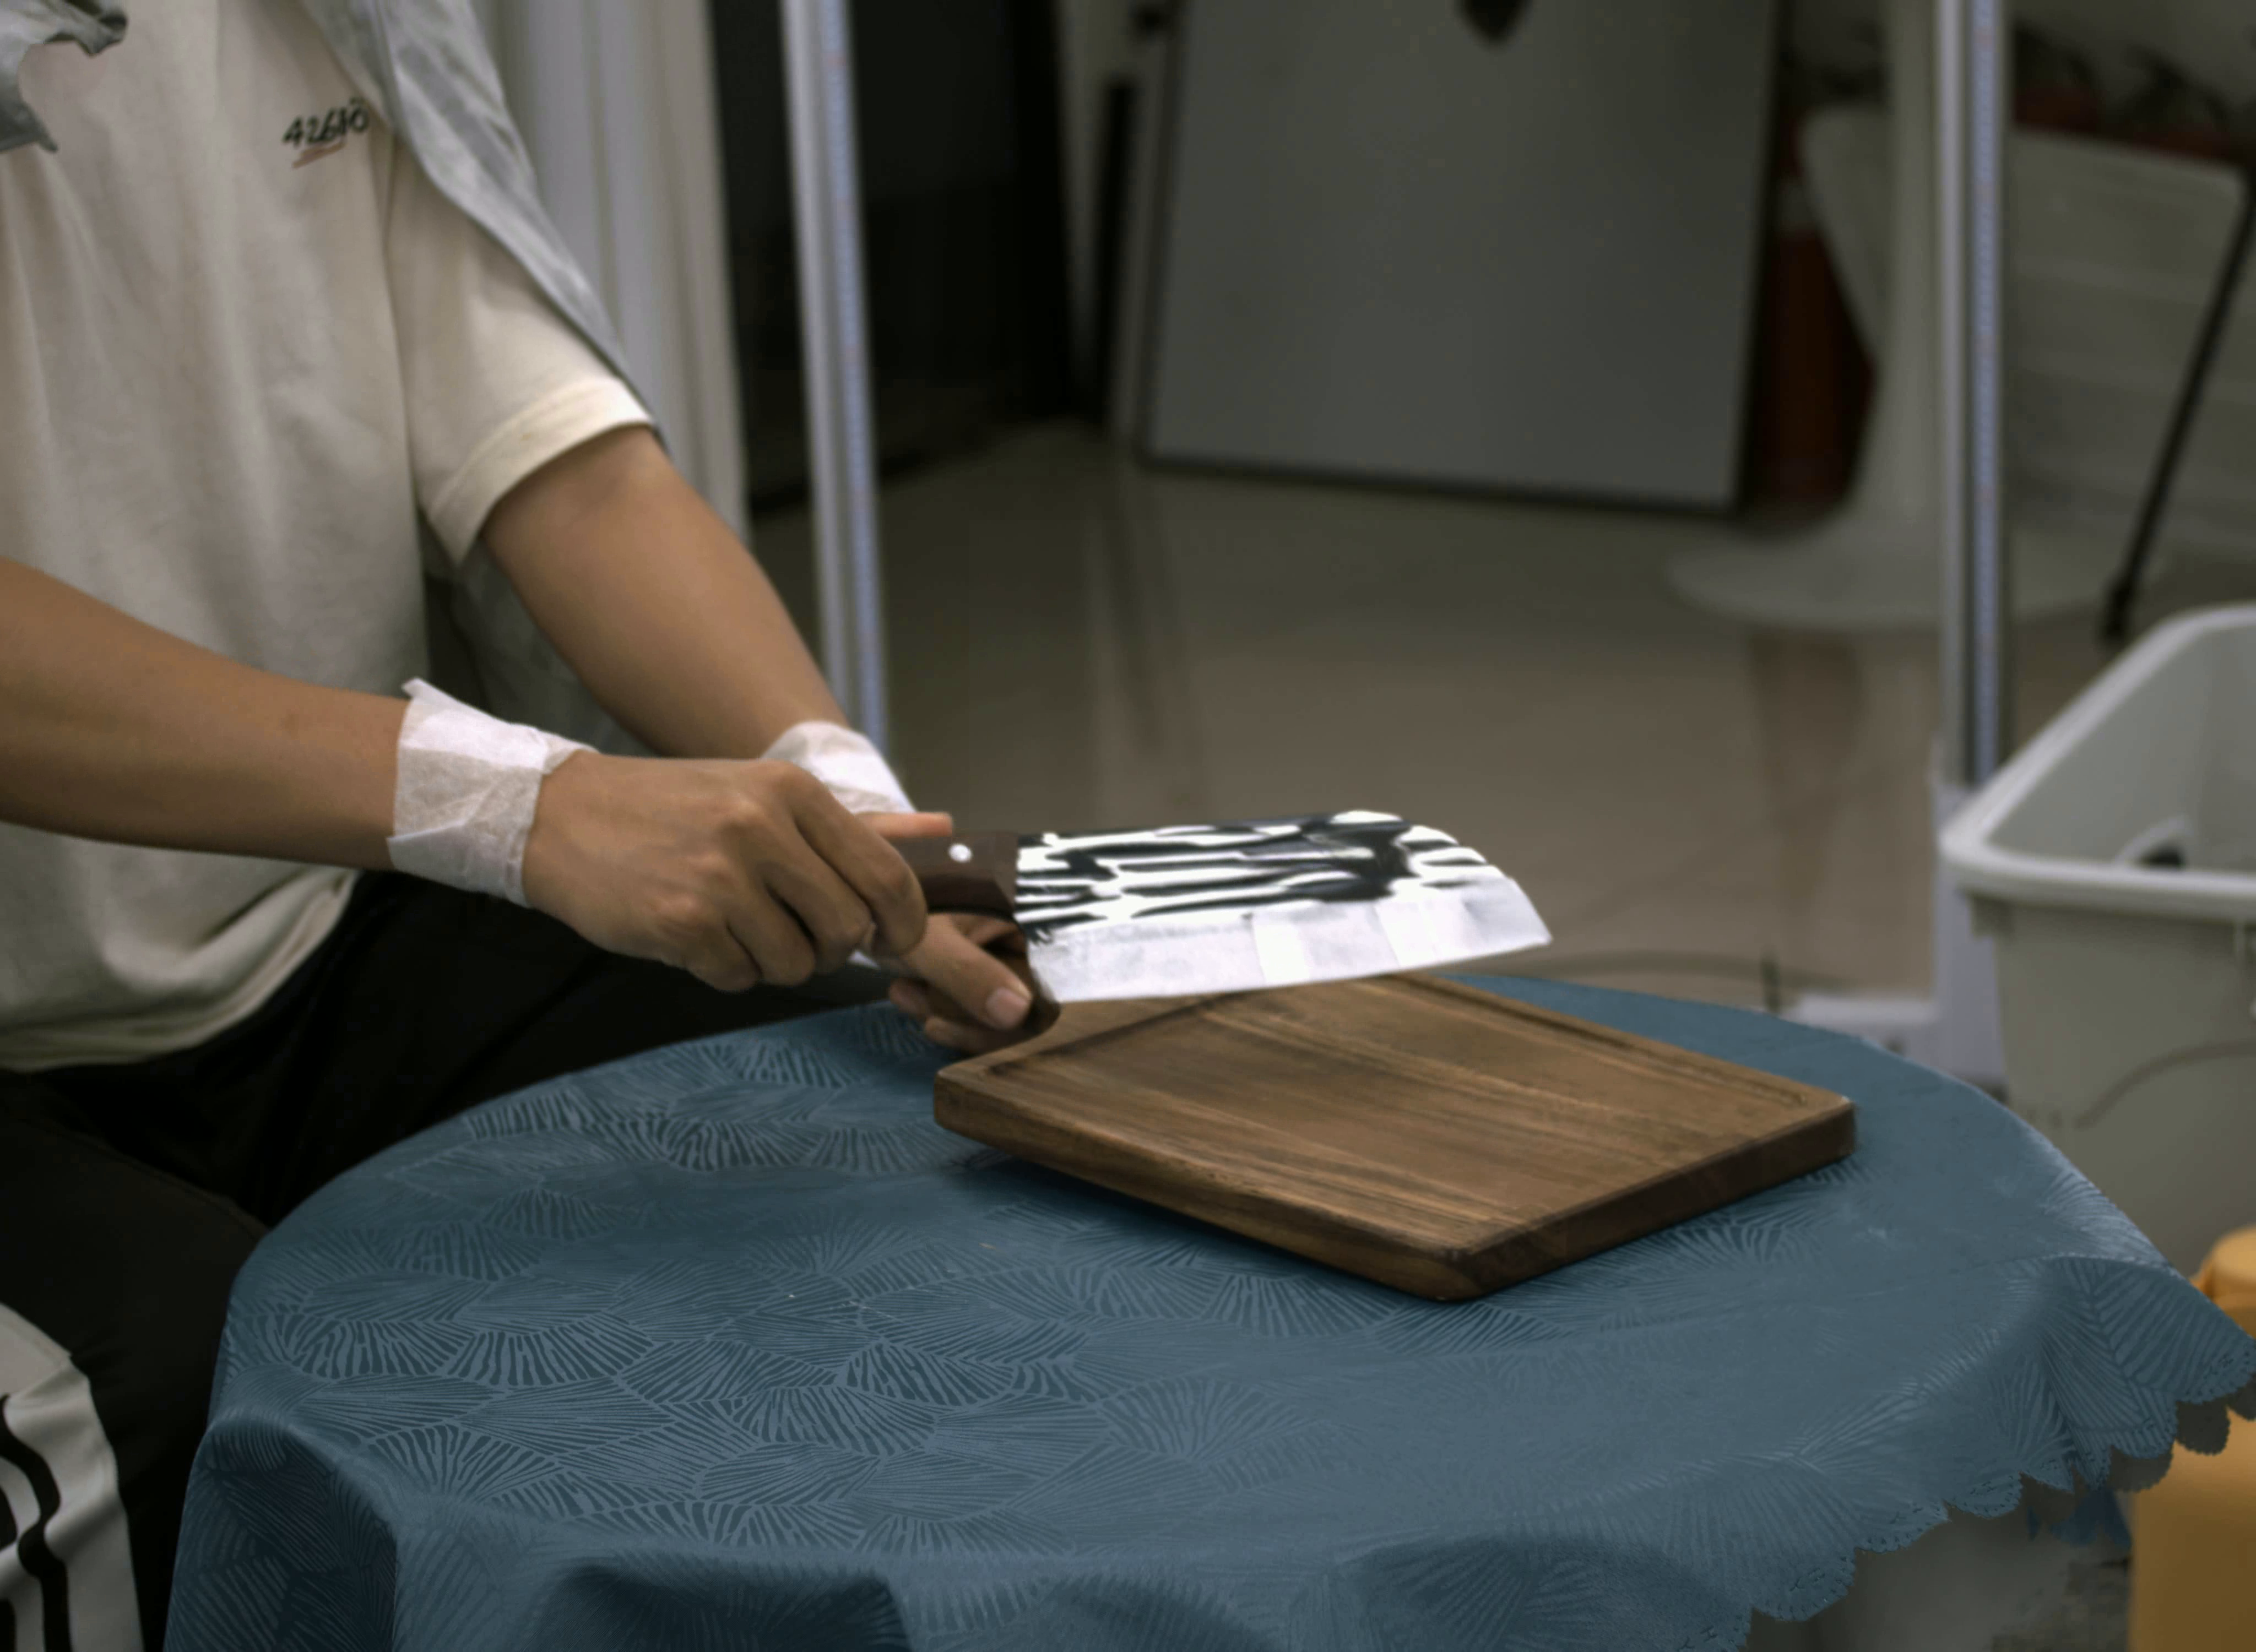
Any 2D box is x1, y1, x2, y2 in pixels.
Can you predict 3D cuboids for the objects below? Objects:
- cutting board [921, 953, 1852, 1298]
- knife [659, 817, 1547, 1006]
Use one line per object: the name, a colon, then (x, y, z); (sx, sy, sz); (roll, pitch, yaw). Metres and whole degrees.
cutting board: (0.053, 0.087, 1.822); (0.197, 0.023, 0.355); (-16, 20, -40)
knife: (-0.007, 0.030, 1.807); (0.294, 0.024, 0.069); (-3, 56, -6)
